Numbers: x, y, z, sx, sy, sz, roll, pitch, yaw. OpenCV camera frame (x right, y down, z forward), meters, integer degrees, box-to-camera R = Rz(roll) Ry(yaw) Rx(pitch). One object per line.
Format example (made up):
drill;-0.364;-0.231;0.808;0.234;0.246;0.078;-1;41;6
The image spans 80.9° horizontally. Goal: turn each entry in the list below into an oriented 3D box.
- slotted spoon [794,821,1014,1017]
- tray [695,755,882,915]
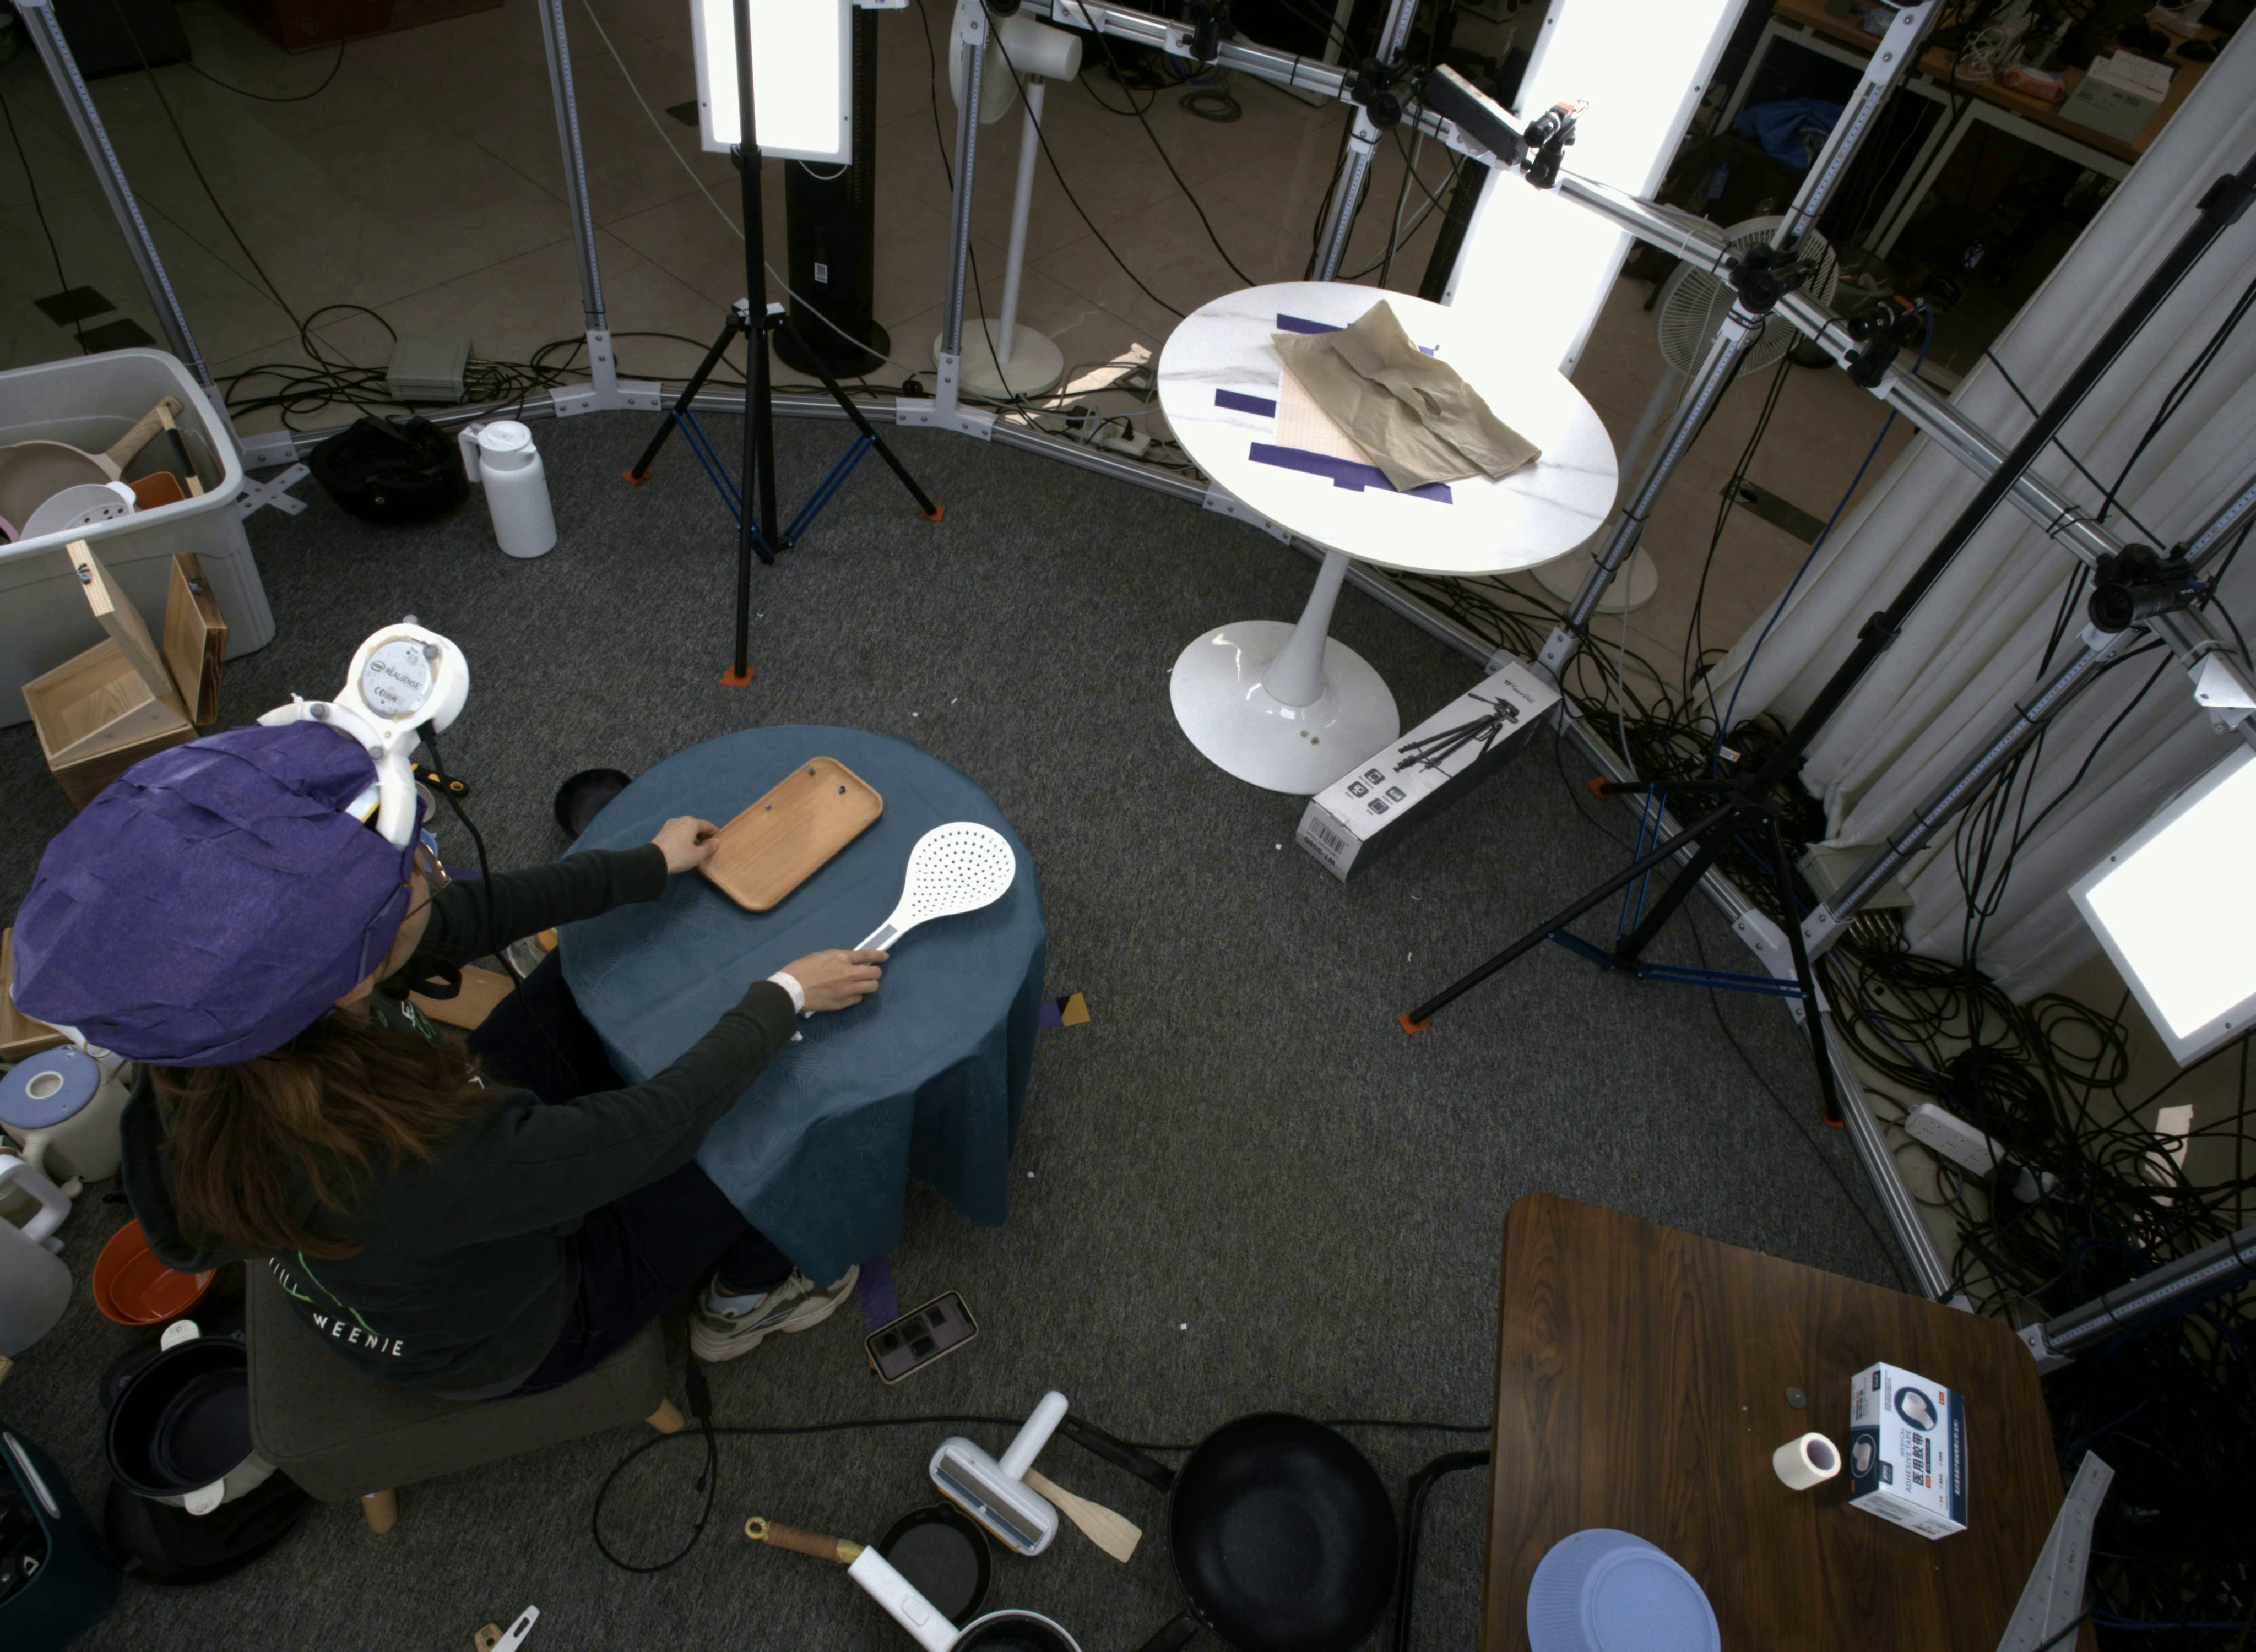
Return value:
slotted spoon;-0.285;0.117;1.647;0.133;0.047;0.350;36;54;17
tray;-0.443;0.008;1.701;0.128;0.023;0.250;37;55;9
